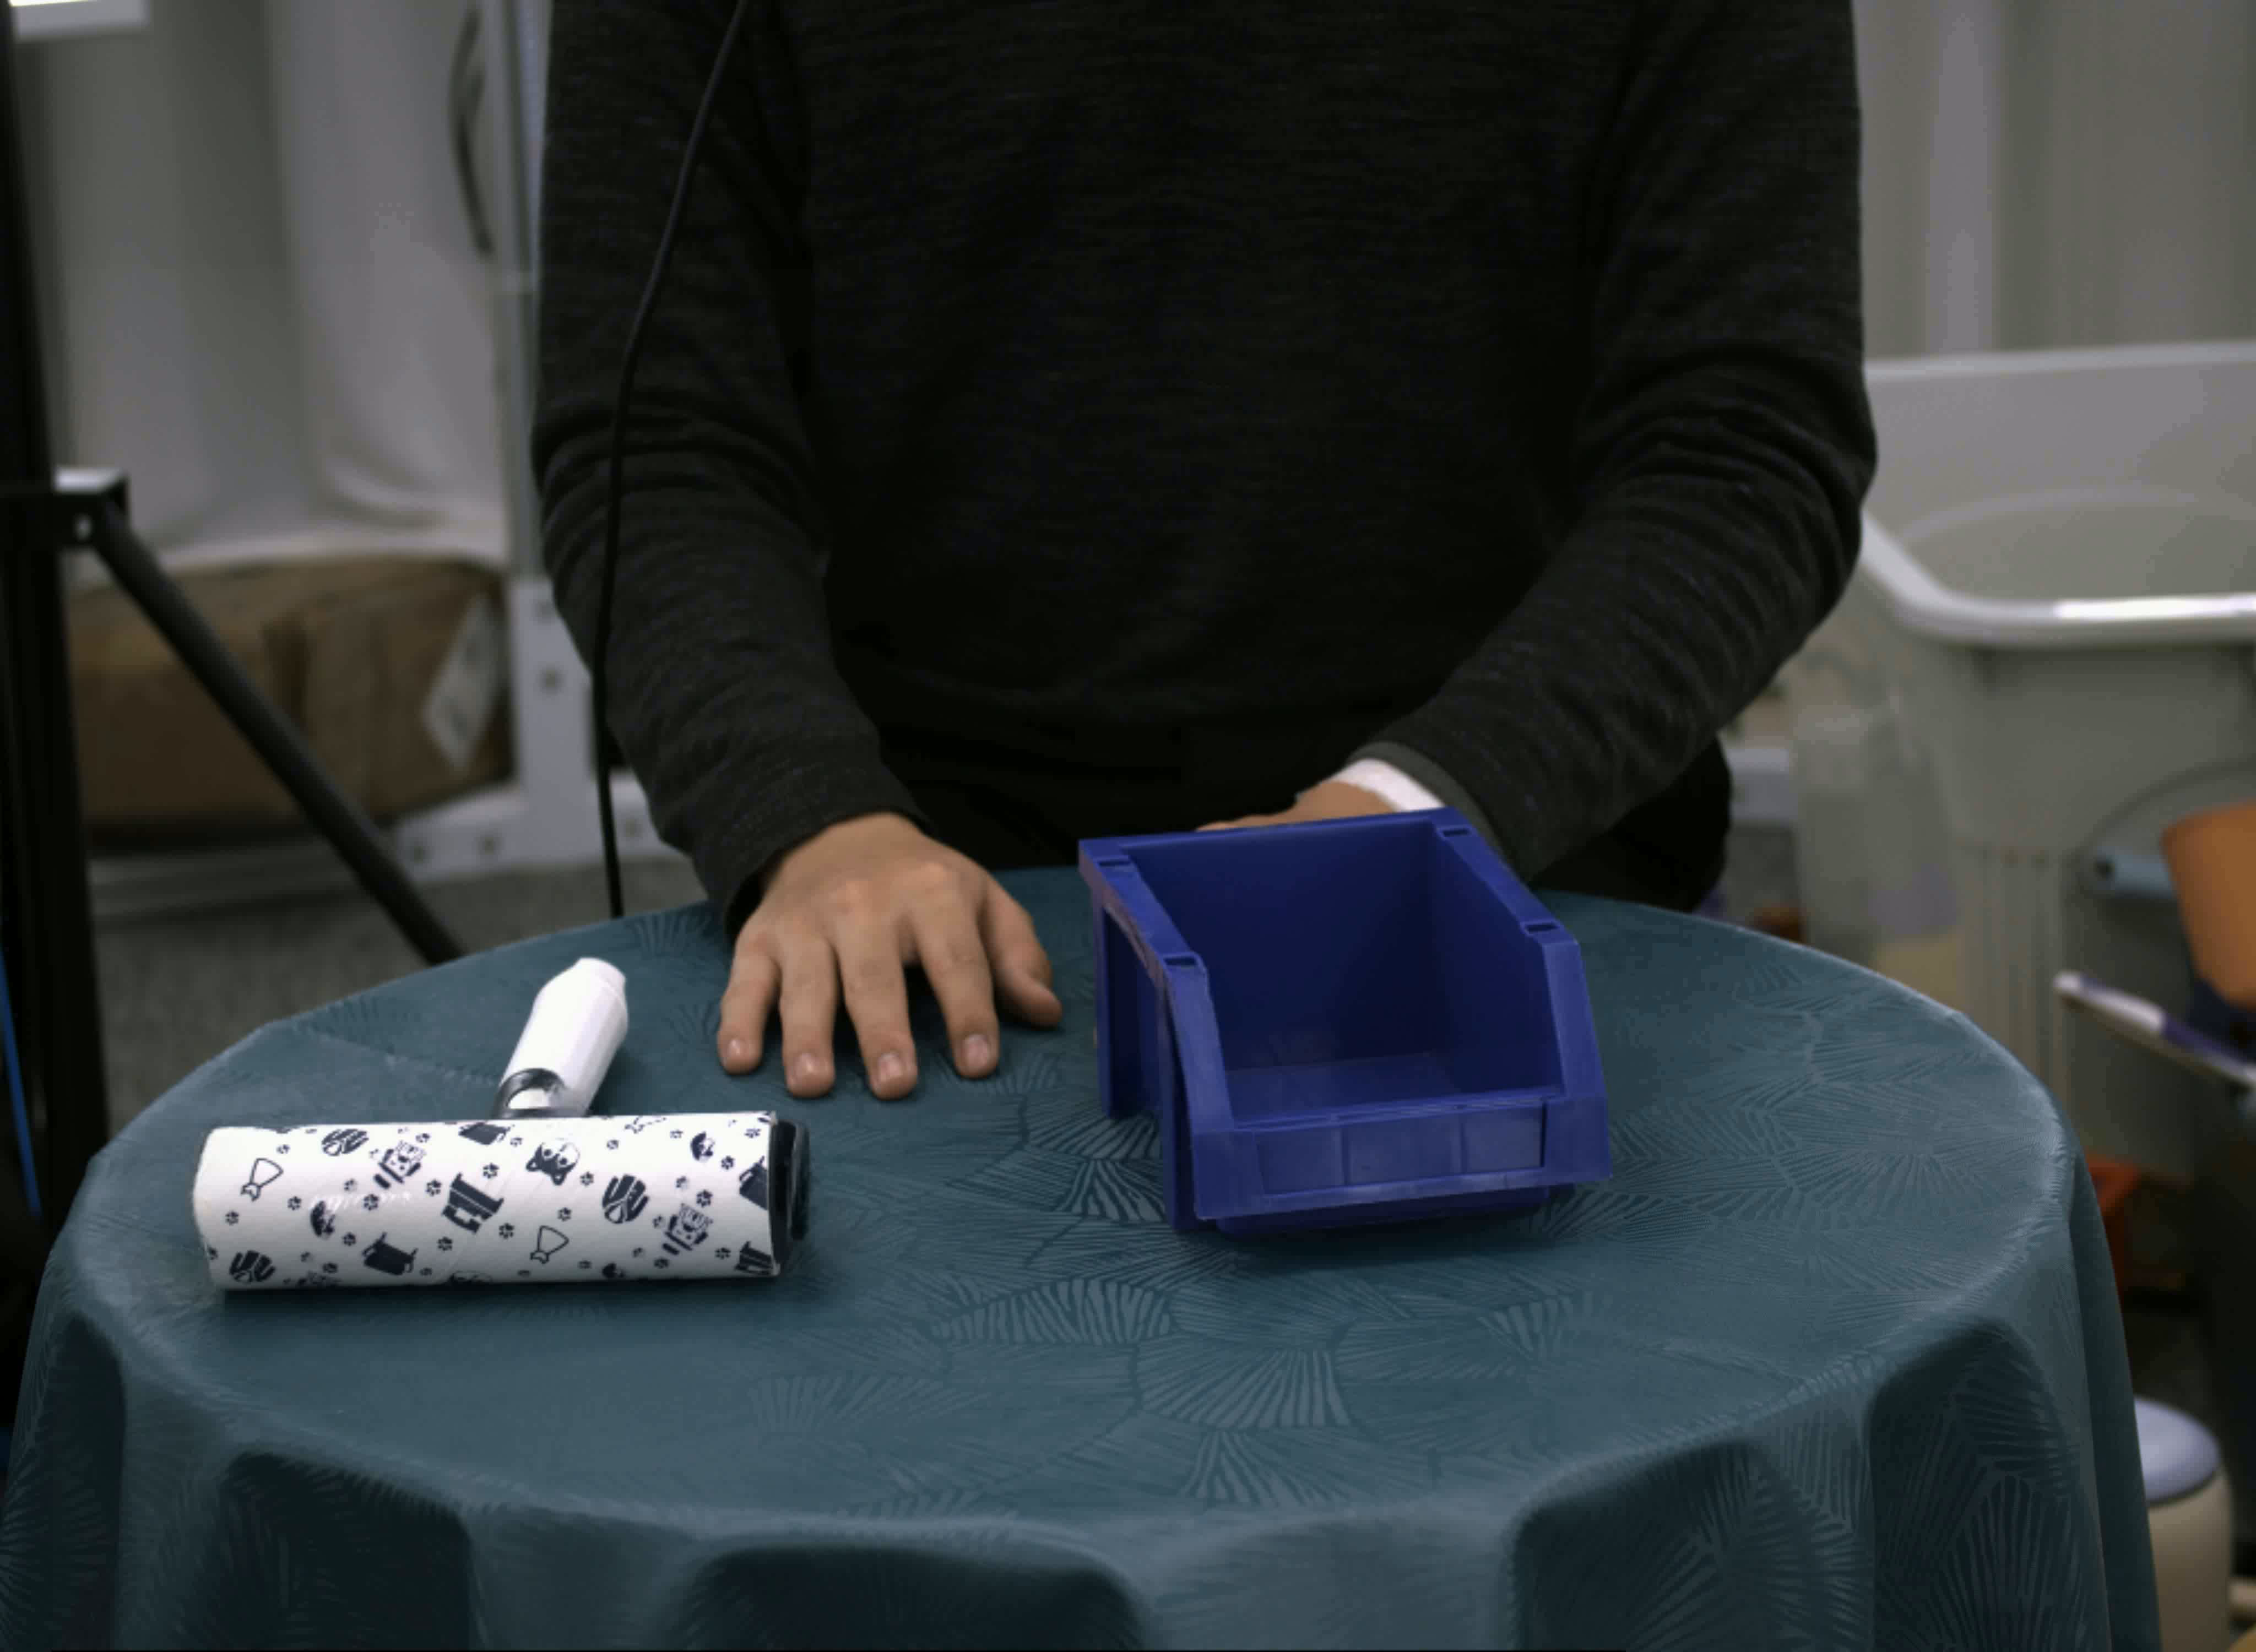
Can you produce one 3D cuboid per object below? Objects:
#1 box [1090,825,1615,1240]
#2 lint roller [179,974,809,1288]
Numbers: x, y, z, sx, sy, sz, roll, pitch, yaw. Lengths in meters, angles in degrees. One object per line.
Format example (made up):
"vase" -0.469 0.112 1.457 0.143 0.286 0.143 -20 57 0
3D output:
"box" 0.065 0.063 1.557 0.123 0.082 0.181 -4 13 -8
"lint roller" -0.178 0.080 1.606 0.176 0.050 0.247 -3 15 2
